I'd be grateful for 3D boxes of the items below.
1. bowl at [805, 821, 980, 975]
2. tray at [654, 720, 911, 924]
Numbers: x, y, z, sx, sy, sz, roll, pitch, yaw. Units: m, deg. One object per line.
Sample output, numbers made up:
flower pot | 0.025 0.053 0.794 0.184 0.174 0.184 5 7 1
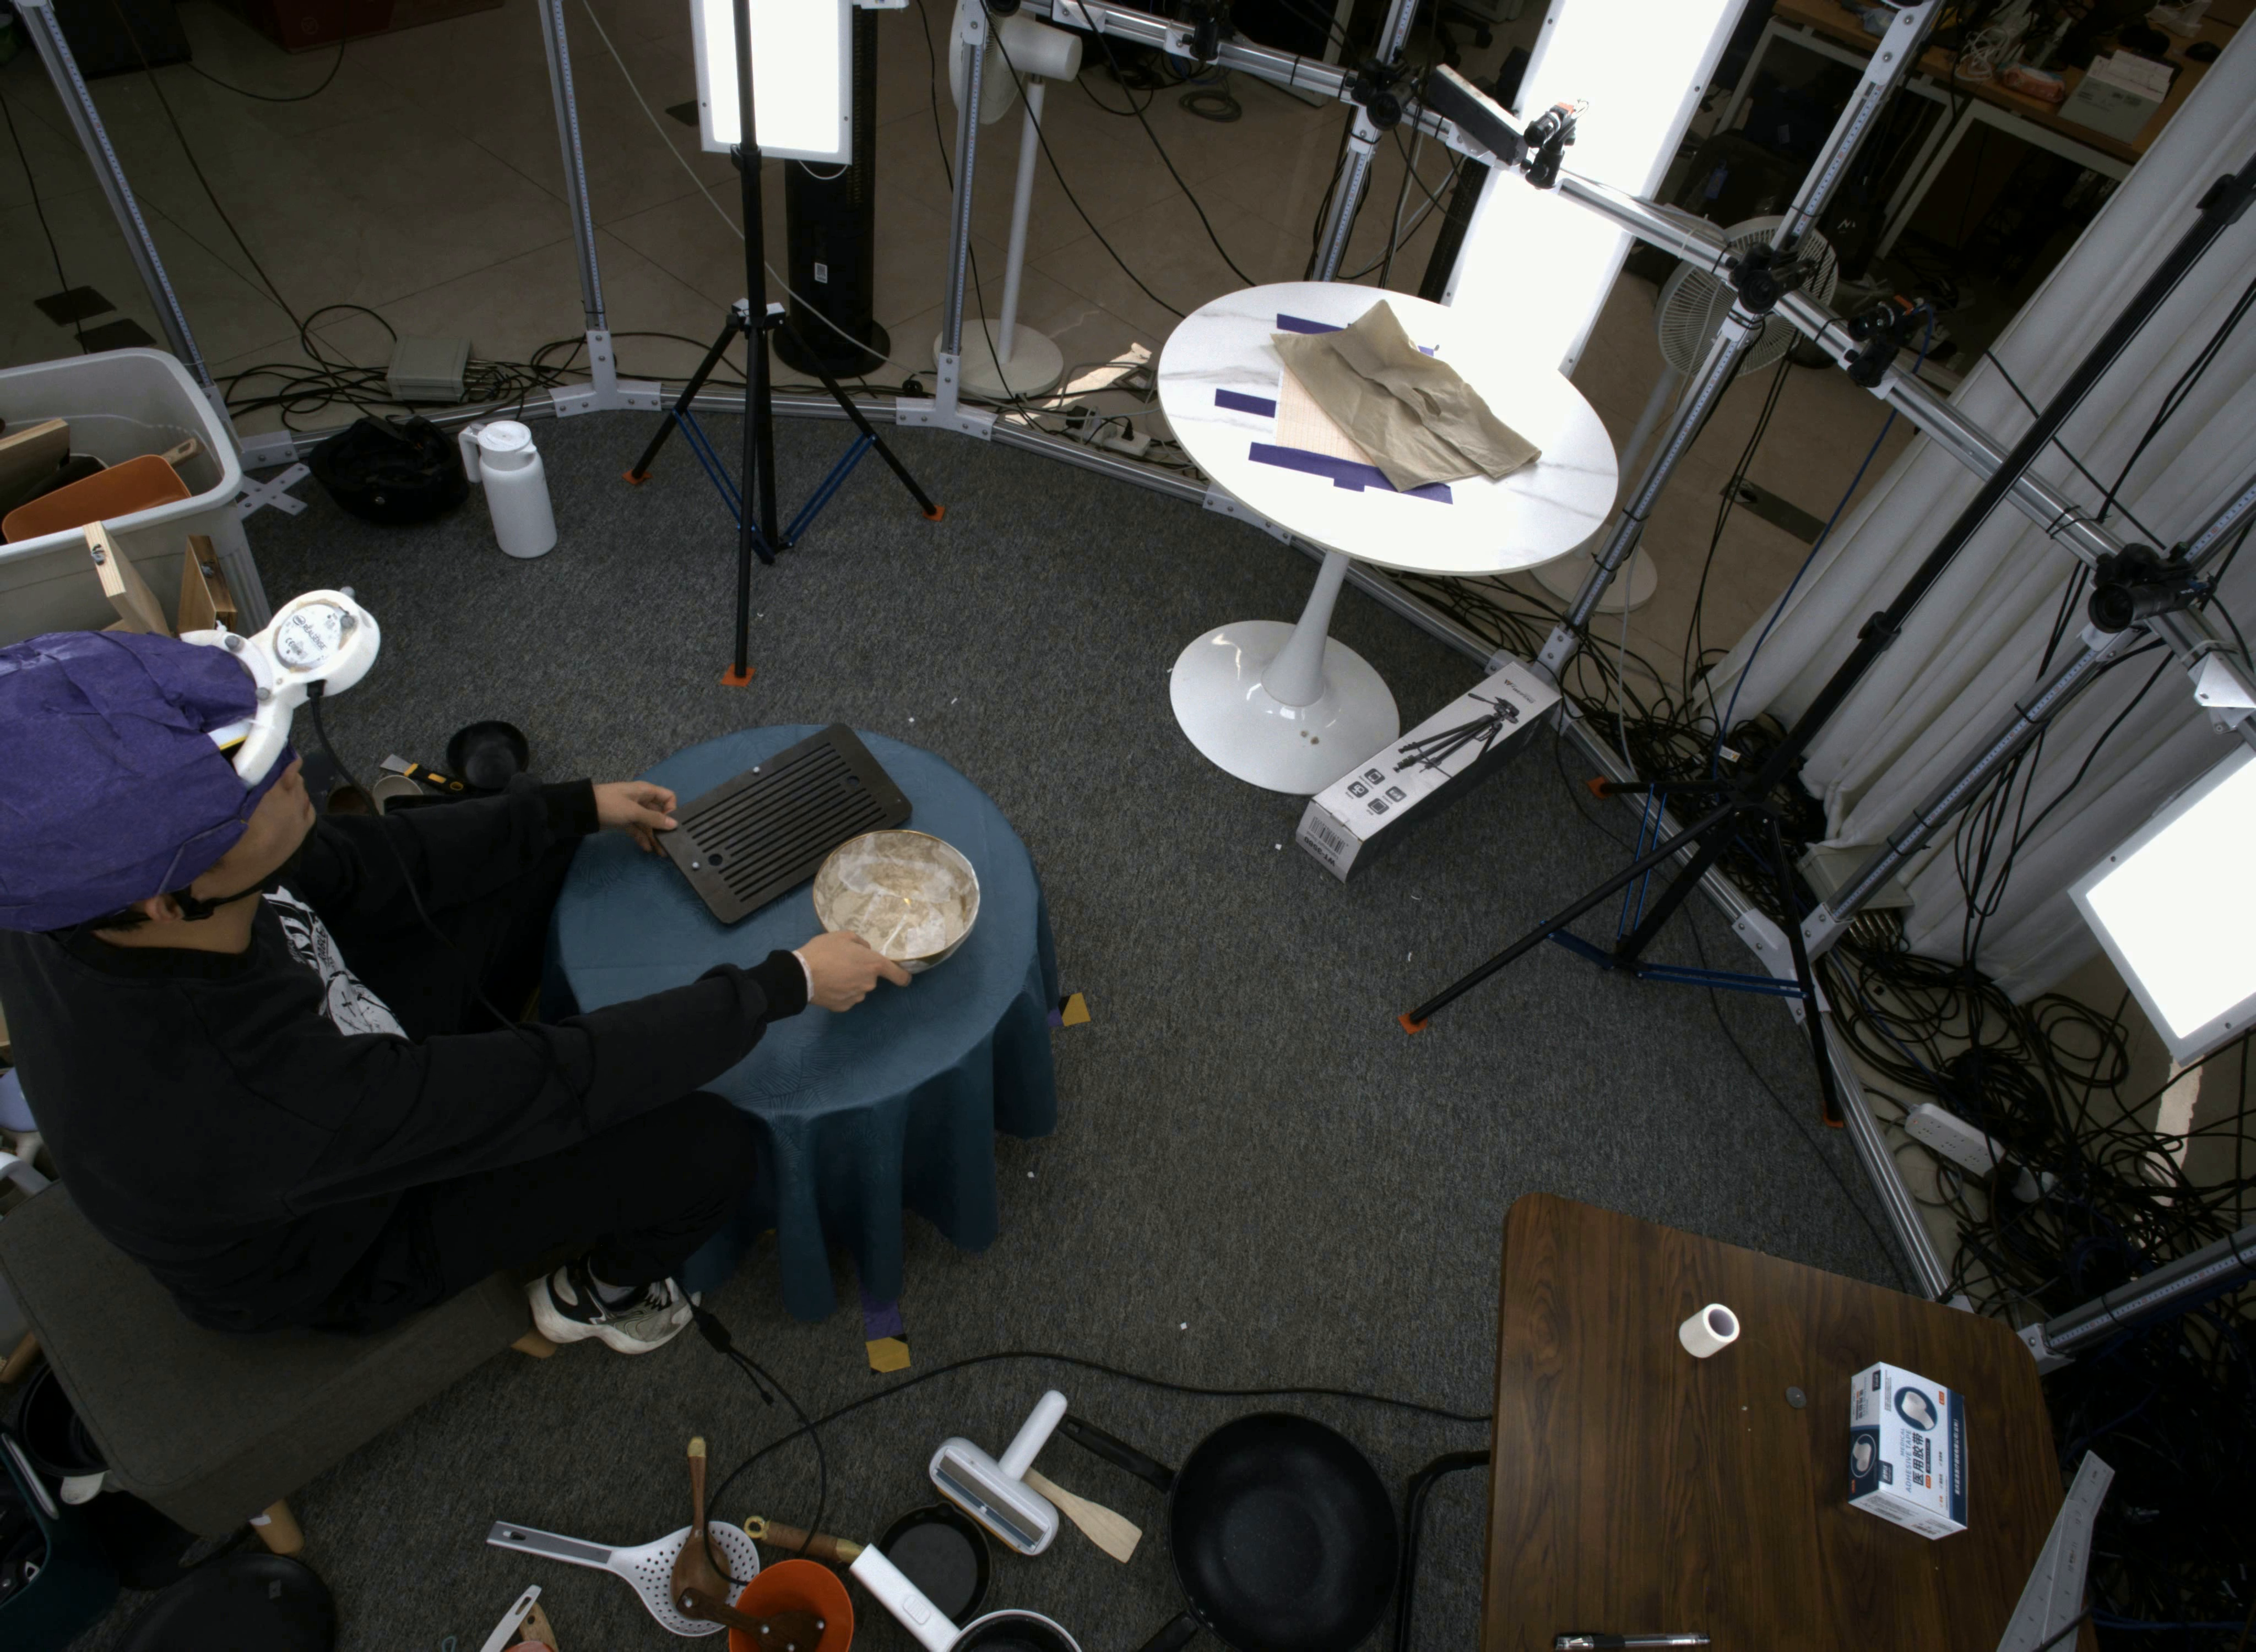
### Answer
bowl | -0.293 0.105 1.624 0.214 0.096 0.211 7 52 -8
tray | -0.449 -0.010 1.698 0.307 0.019 0.169 -35 81 -32
